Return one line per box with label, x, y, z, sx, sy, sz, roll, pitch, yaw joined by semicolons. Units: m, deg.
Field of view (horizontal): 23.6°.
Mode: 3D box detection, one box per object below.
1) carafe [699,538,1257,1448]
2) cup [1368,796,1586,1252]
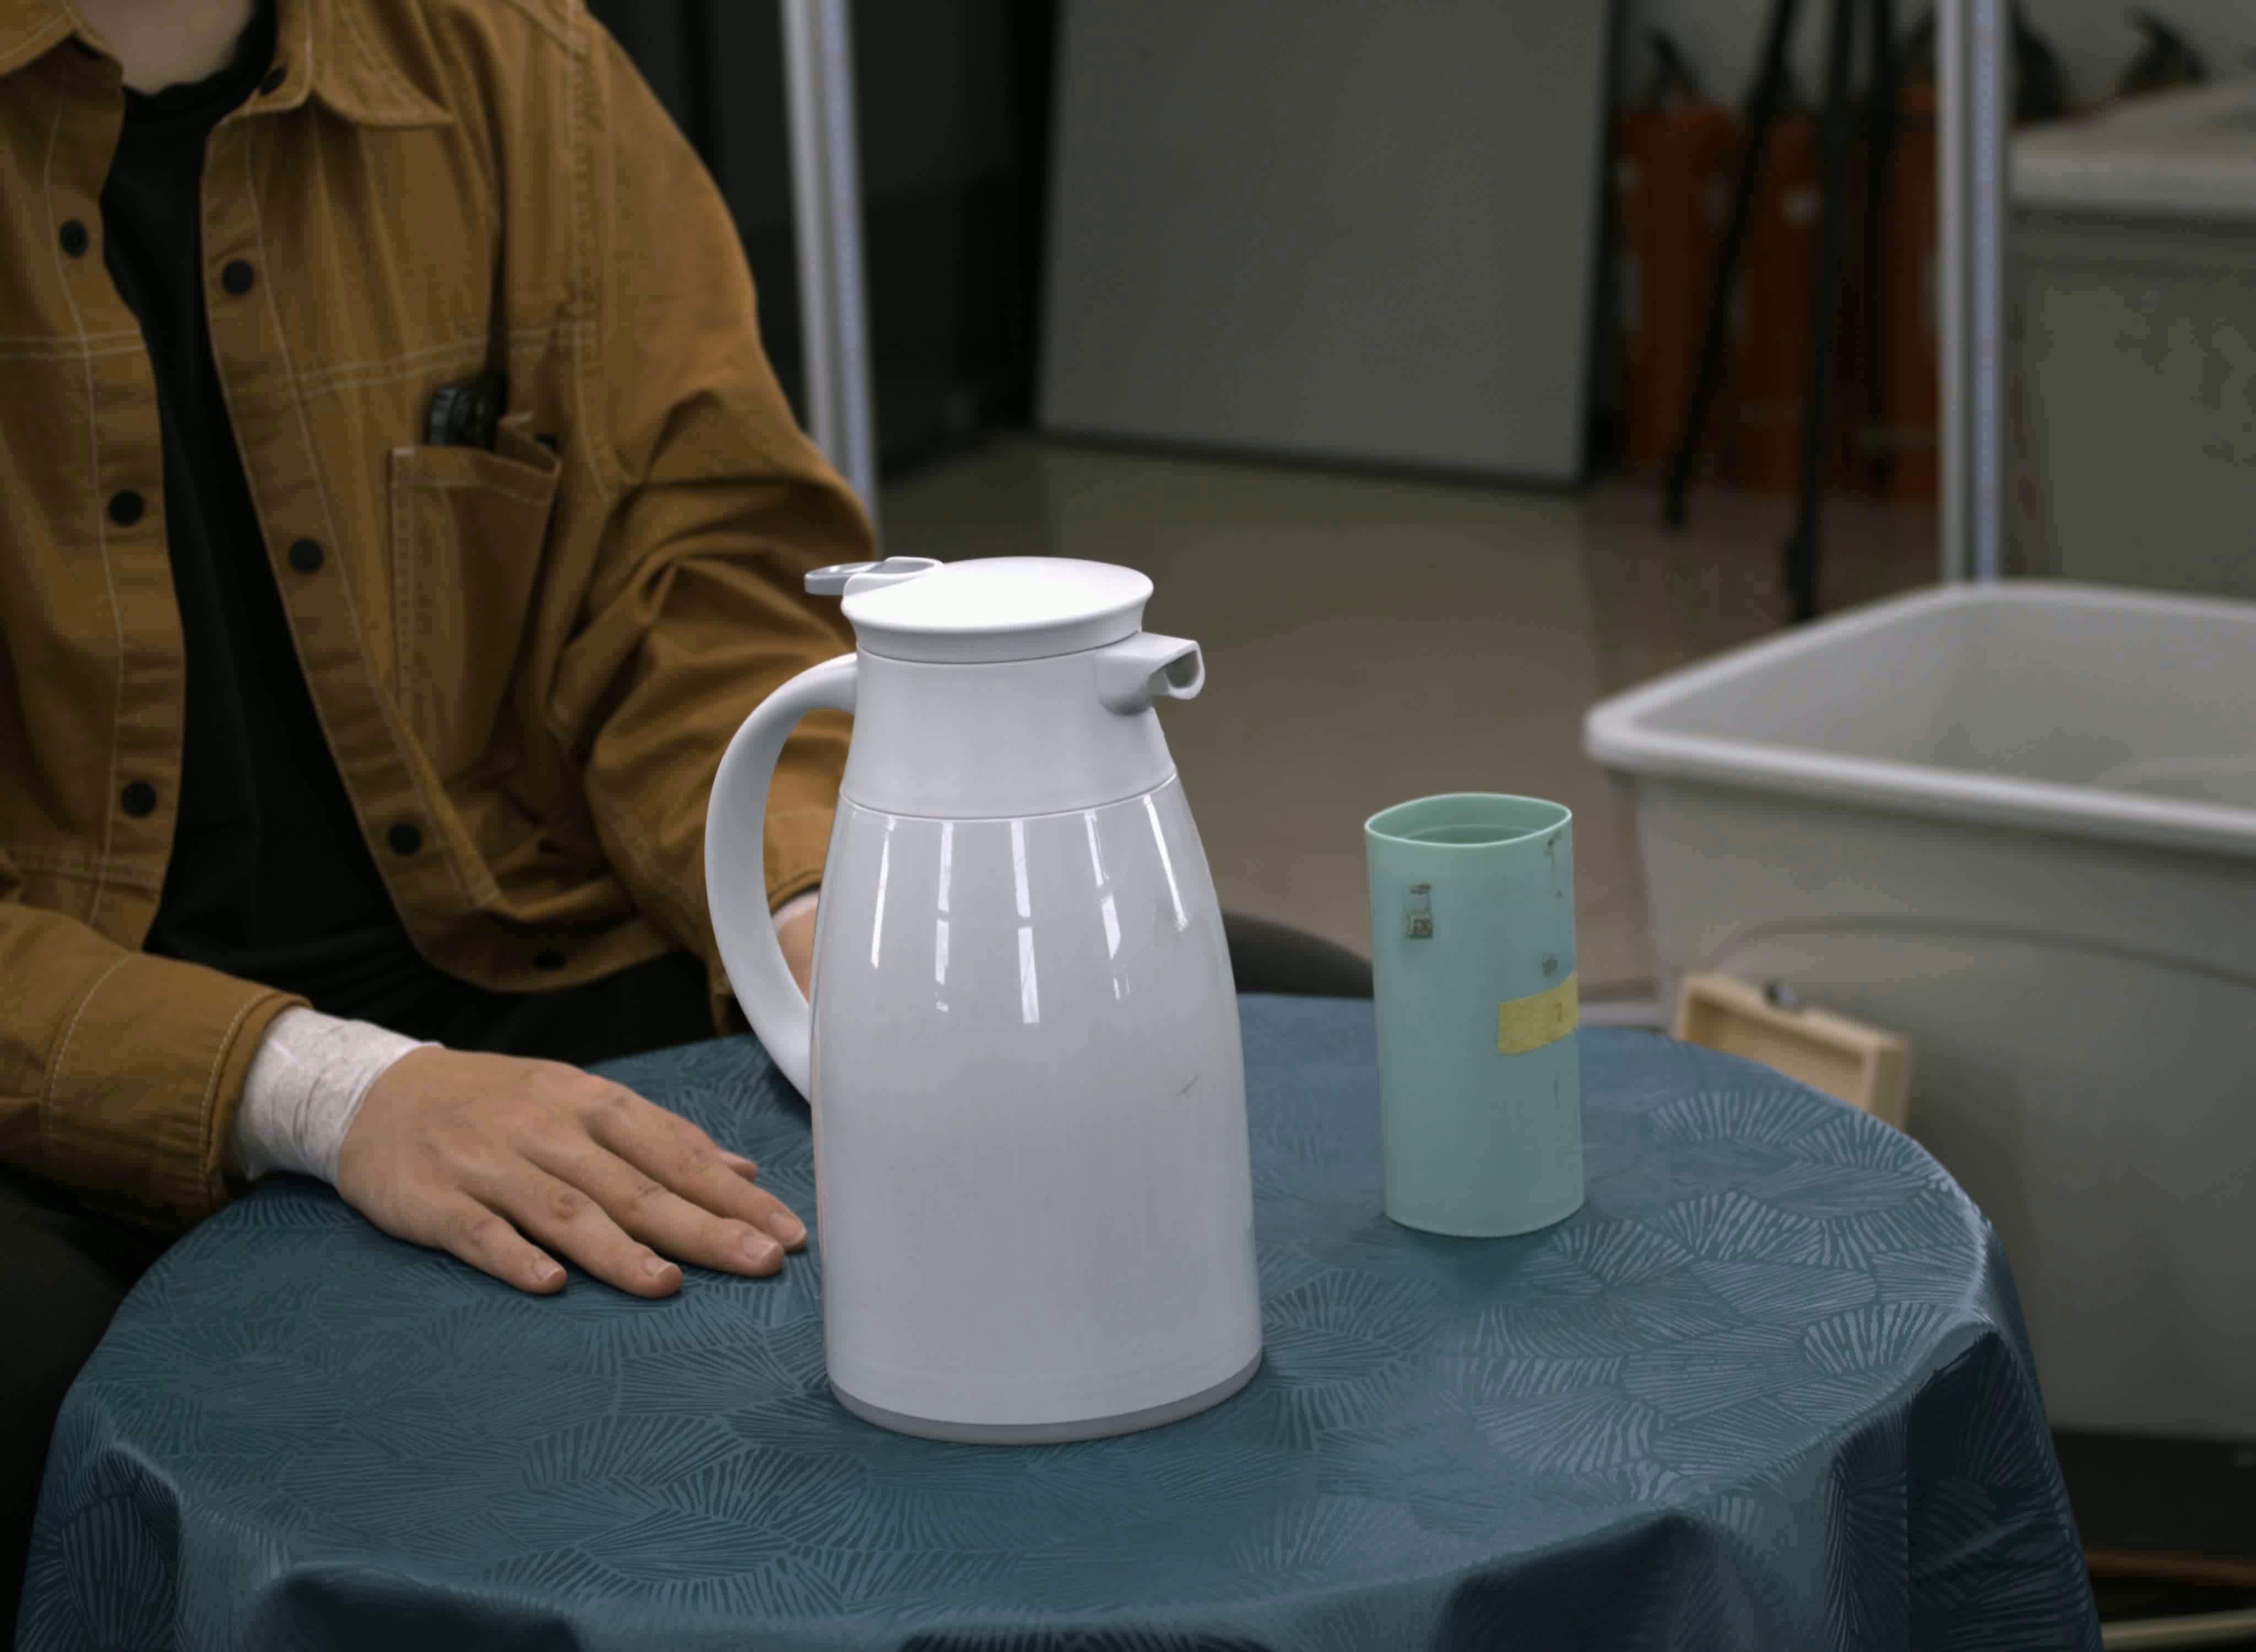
carafe;-0.050;0.041;1.592;0.168;0.251;0.130;3;15;28
cup;0.111;0.062;1.718;0.066;0.134;0.067;-3;13;0
